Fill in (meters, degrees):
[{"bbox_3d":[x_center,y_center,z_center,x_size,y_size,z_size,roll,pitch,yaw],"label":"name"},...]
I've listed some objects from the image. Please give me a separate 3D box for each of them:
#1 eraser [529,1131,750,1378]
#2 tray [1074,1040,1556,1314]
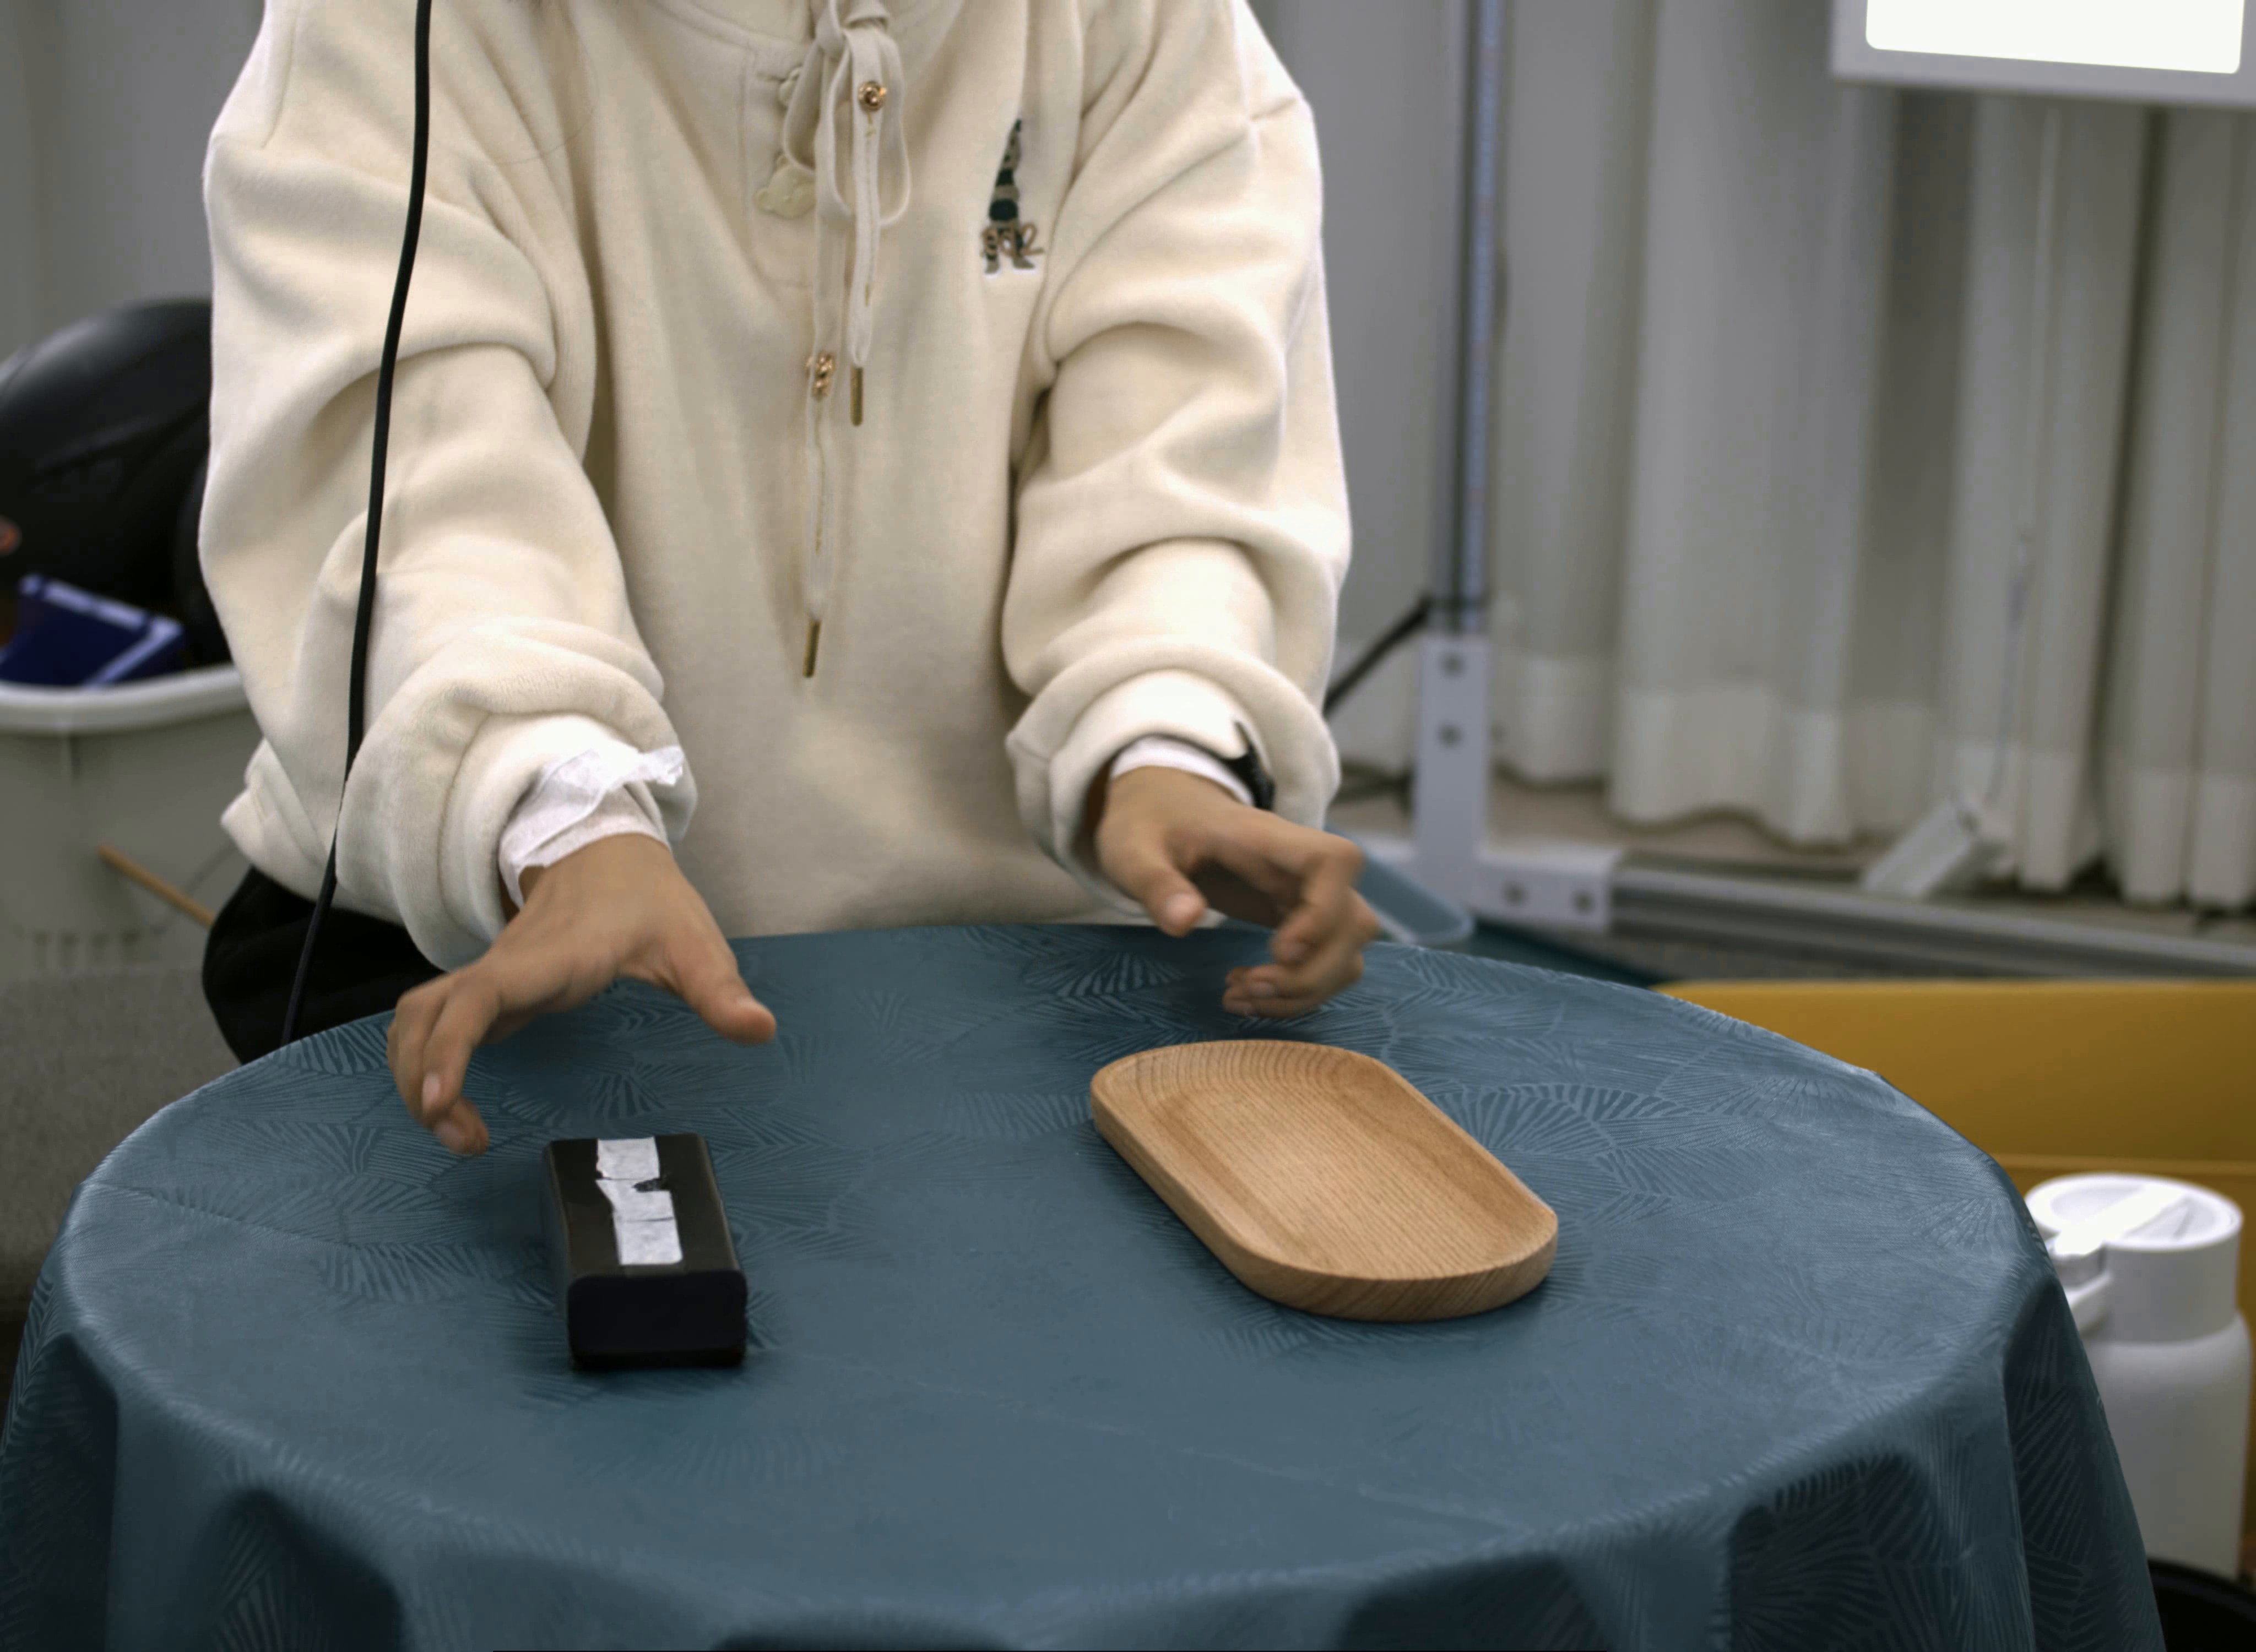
[{"bbox_3d":[-0.142,0.123,1.522,0.053,0.030,0.124,4,16,-12],"label":"eraser"},{"bbox_3d":[0.055,0.105,1.618,0.102,0.020,0.229,-4,14,-19],"label":"tray"}]
